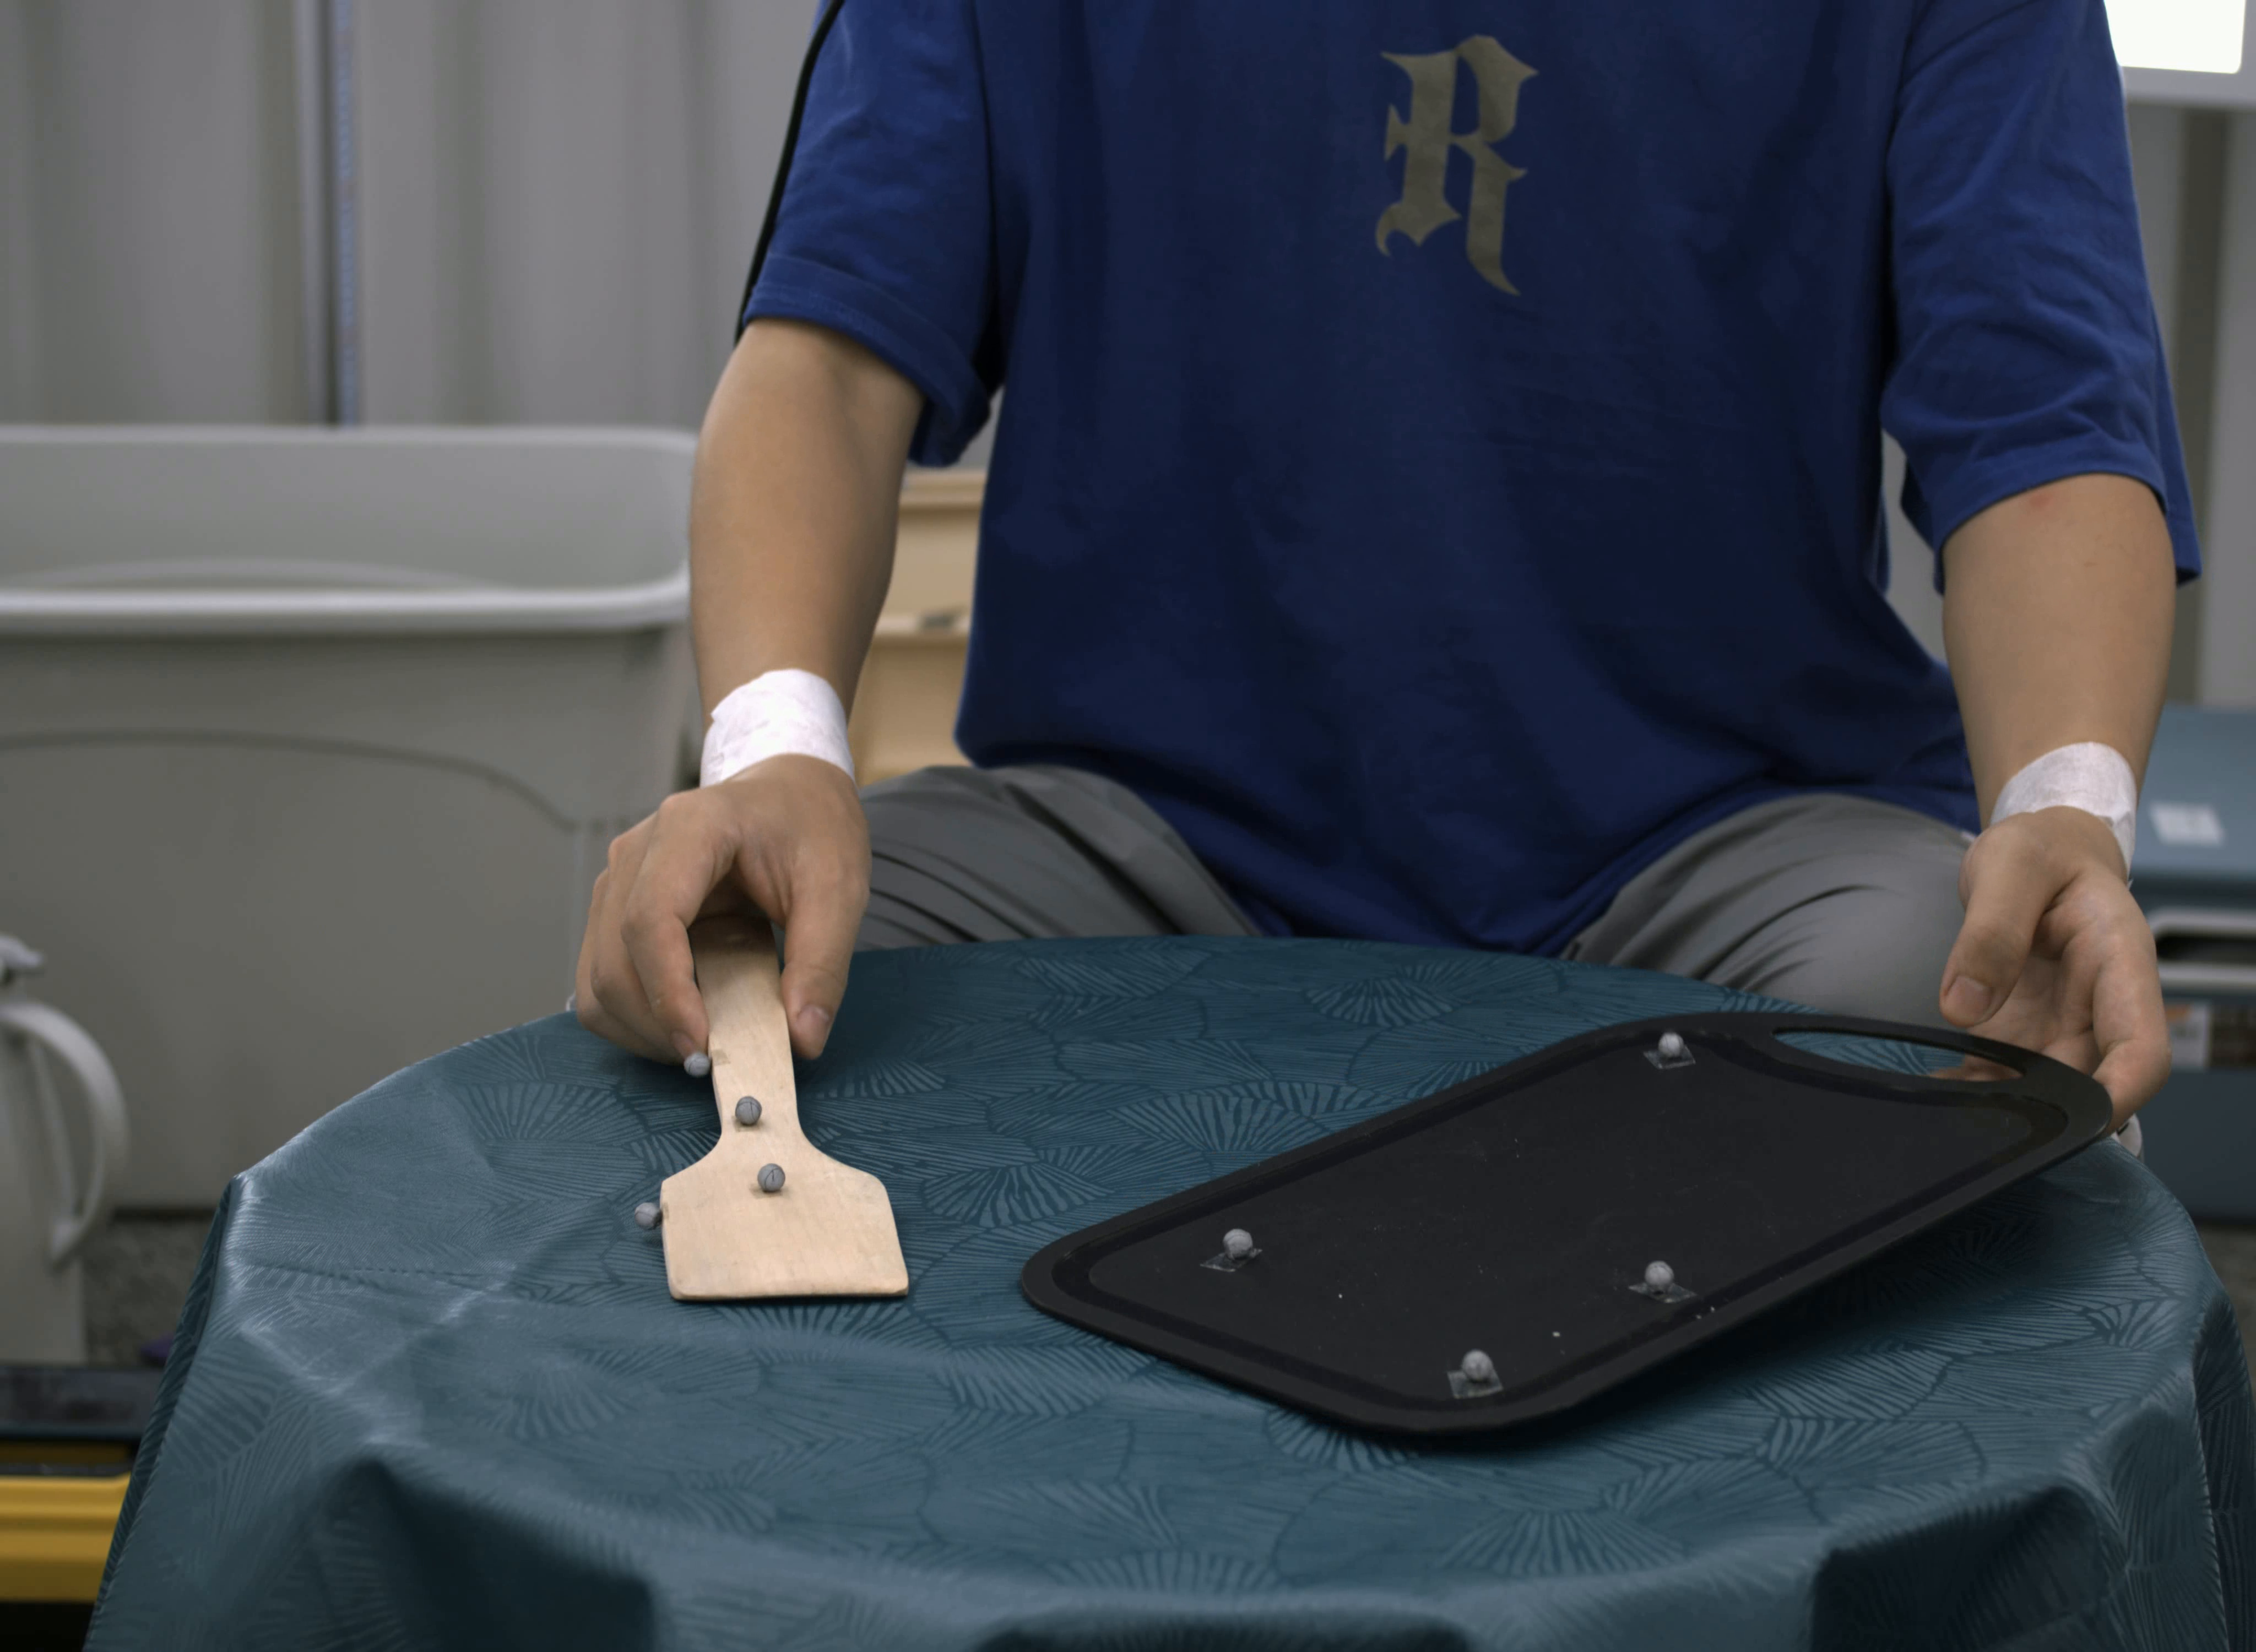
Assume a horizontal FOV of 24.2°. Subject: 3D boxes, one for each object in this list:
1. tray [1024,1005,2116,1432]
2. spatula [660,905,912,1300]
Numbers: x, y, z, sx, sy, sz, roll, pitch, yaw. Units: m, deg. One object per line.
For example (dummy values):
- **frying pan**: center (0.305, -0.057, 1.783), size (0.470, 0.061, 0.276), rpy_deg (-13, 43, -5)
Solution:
- **tray**: center (0.139, 0.107, 1.572), size (0.326, 0.010, 0.208), rpy_deg (-19, 22, -38)
- **spatula**: center (-0.117, 0.084, 1.658), size (0.072, 0.011, 0.290), rpy_deg (-1, 22, -8)
